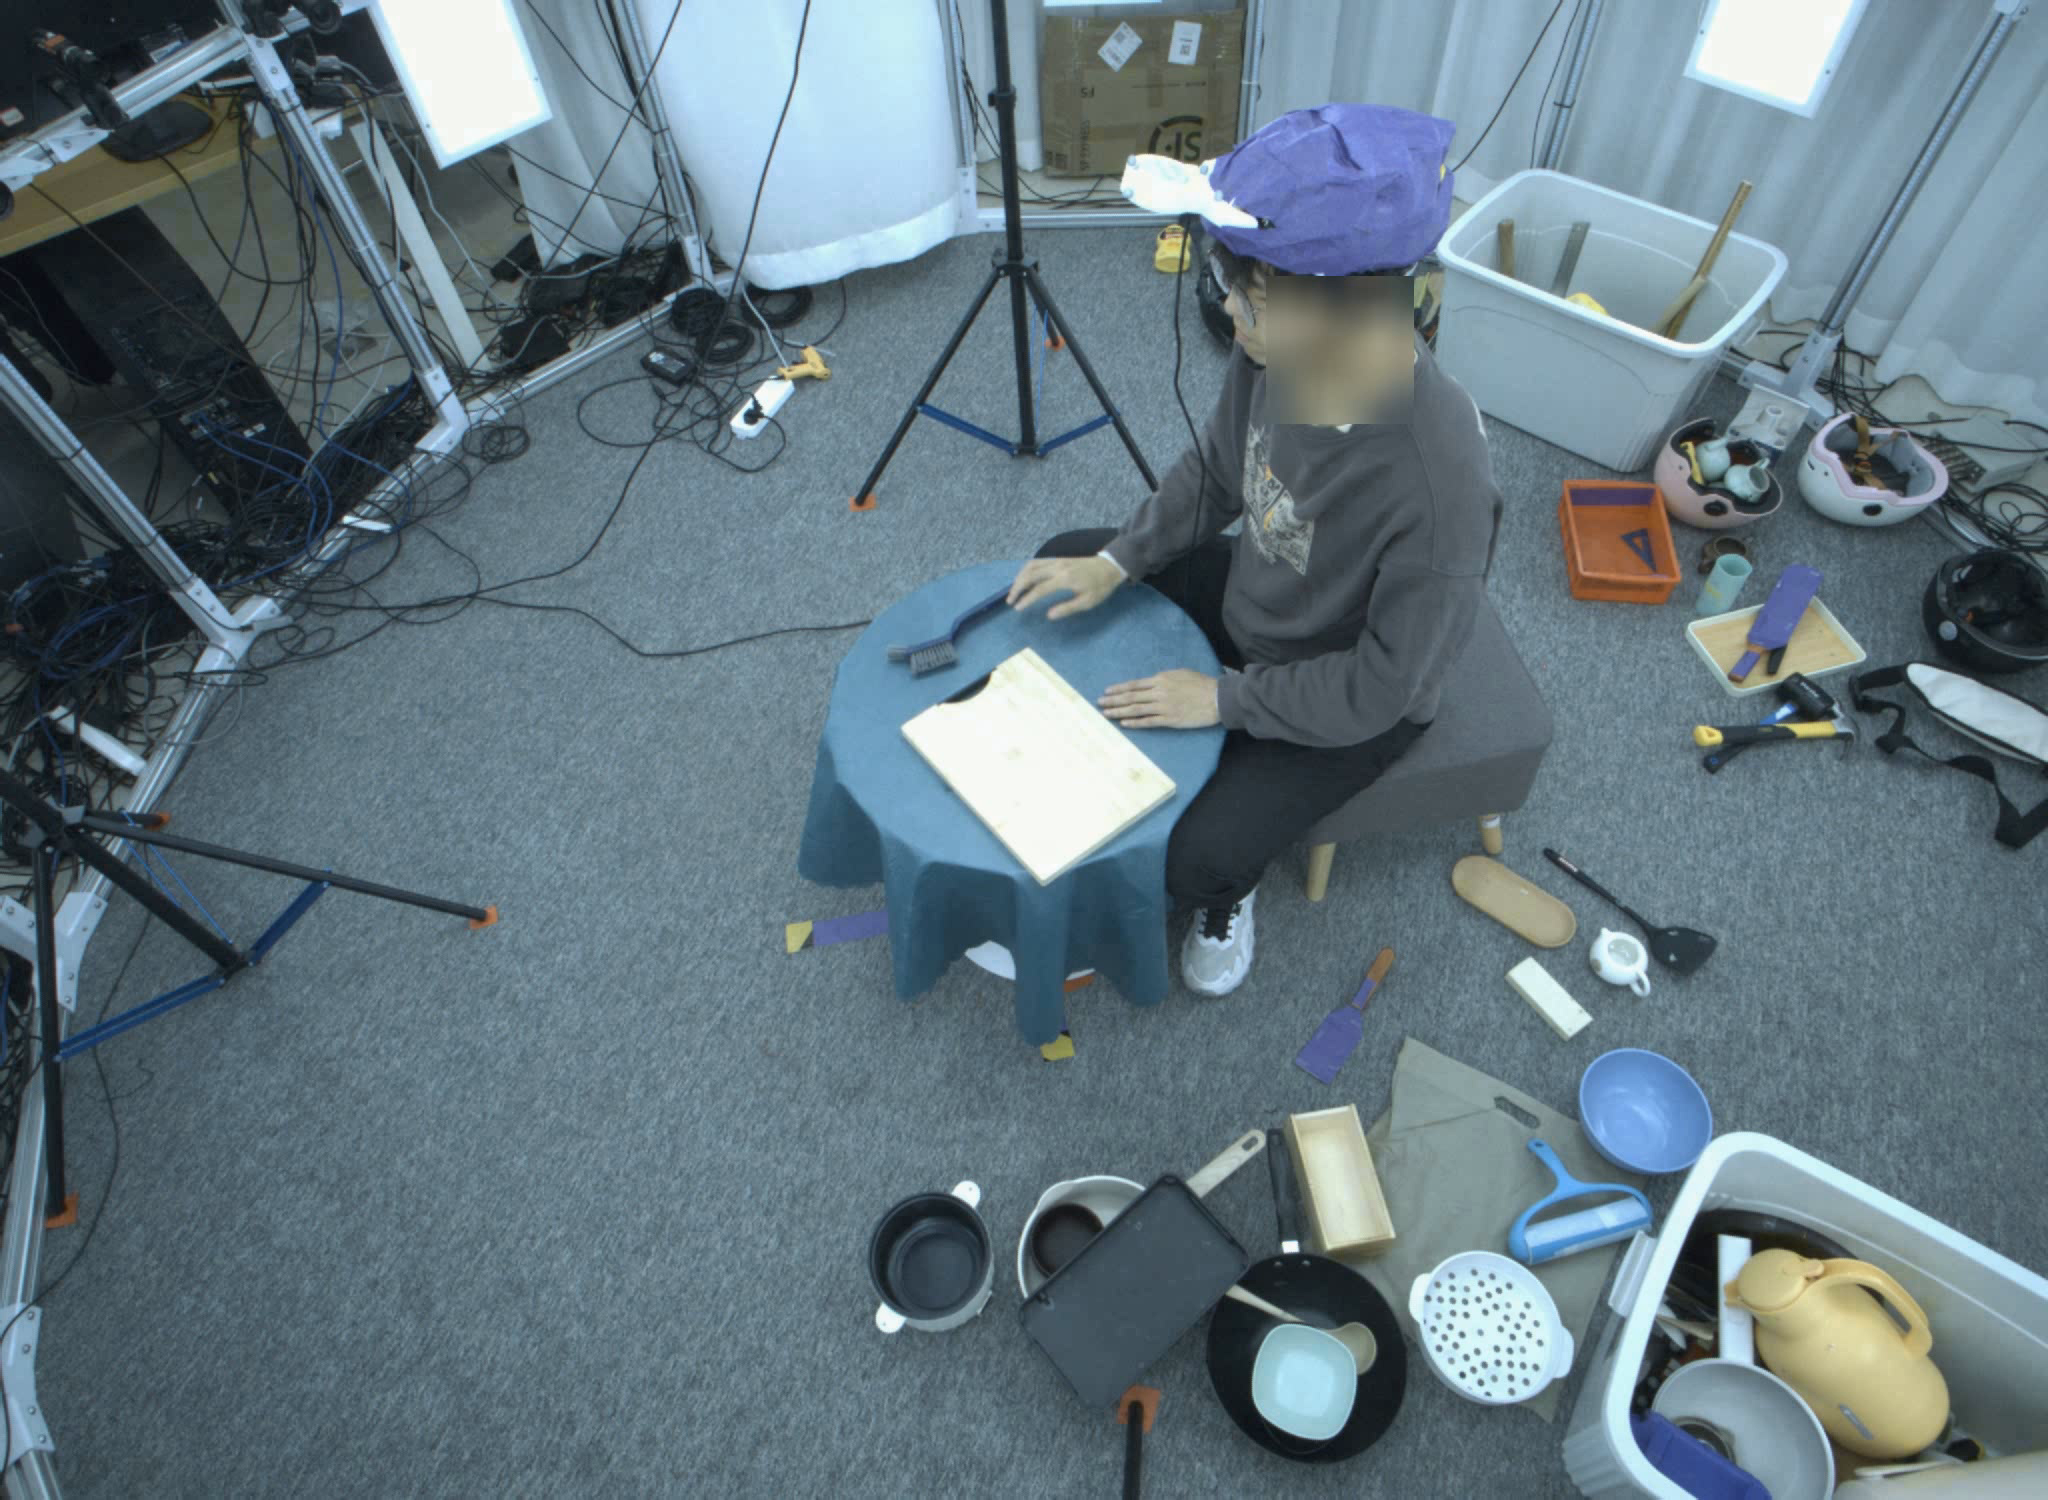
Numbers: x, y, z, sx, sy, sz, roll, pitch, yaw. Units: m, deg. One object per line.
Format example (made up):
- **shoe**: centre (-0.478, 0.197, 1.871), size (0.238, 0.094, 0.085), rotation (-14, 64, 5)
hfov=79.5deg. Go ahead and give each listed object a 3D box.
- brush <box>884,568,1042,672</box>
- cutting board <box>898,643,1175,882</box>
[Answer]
- **brush**: centre (-0.089, -0.213, 1.922), size (0.094, 0.034, 0.275), rotation (38, 65, 25)
- **cutting board**: centre (0.013, 0.009, 1.768), size (0.253, 0.024, 0.342), rotation (-34, 60, -21)
